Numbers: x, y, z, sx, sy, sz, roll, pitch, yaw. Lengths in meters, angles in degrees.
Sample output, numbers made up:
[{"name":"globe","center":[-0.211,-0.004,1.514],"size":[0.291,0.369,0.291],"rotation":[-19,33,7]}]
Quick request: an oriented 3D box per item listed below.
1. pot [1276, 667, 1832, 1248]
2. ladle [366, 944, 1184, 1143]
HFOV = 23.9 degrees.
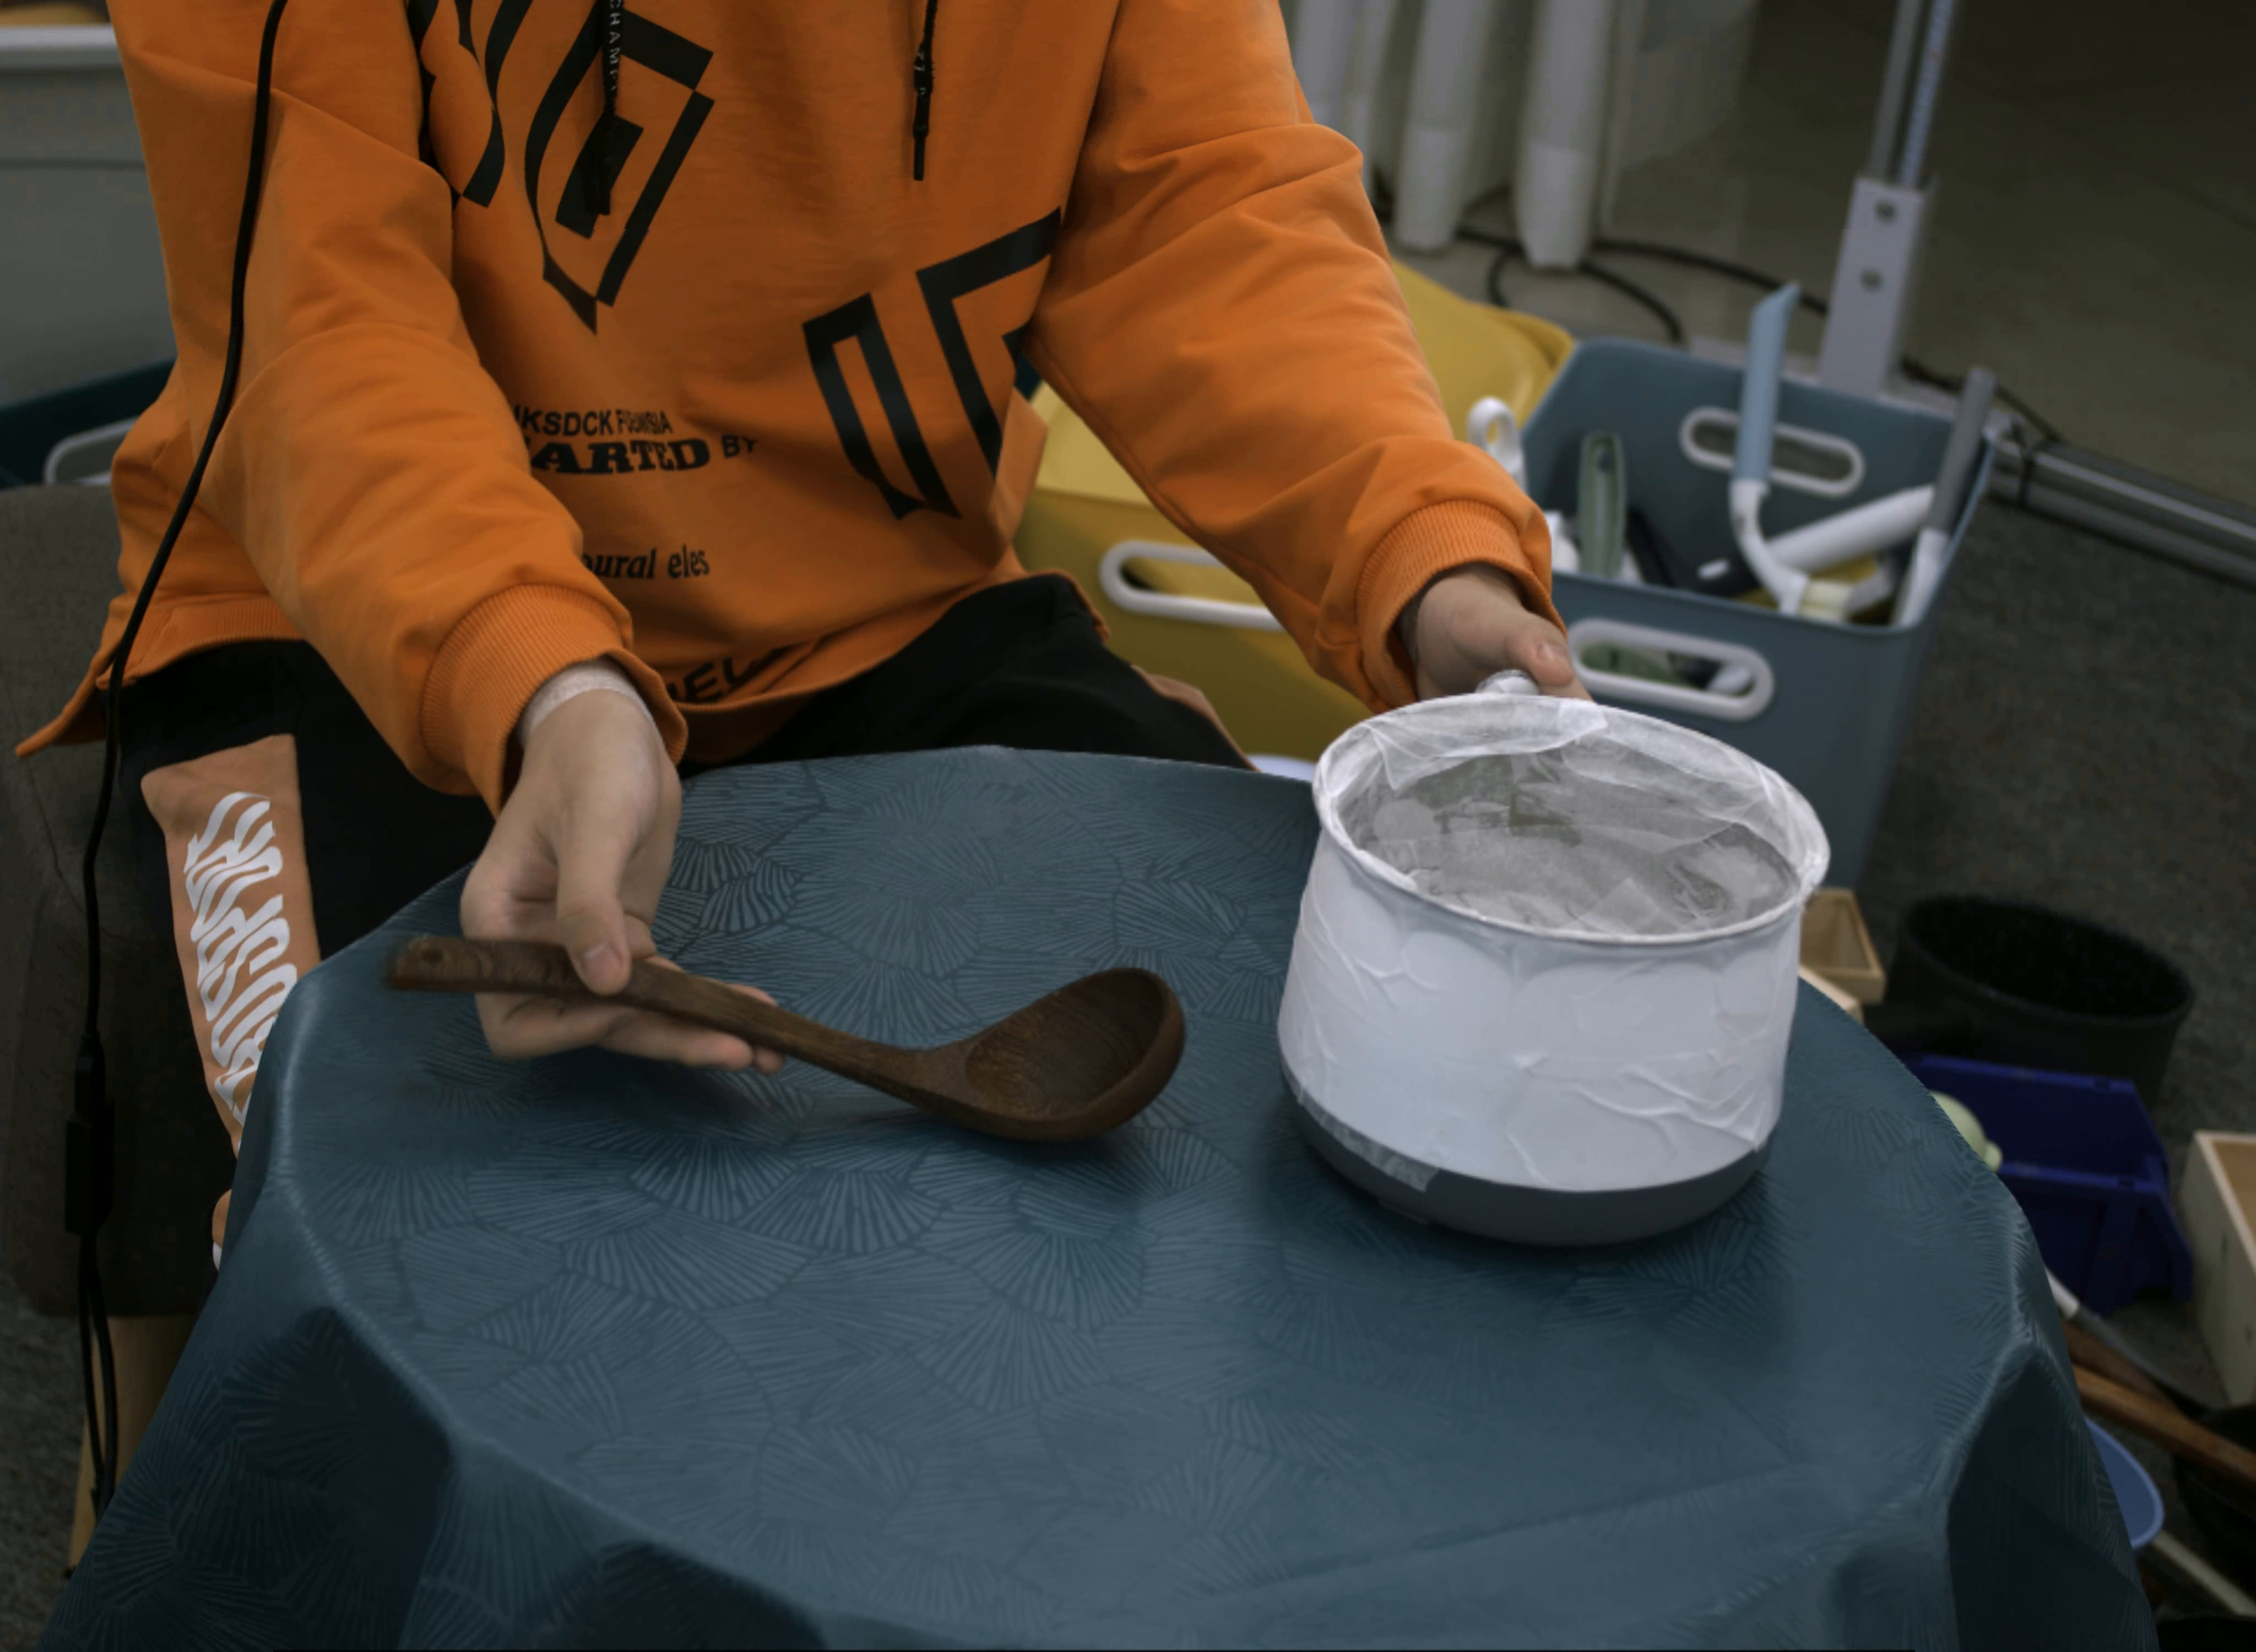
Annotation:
[{"name":"pot","center":[0.138,0.038,1.850],"size":[0.178,0.136,0.235],"rotation":[2,28,-11]},{"name":"ladle","center":[-0.116,0.054,1.799],"size":[0.272,0.071,0.076],"rotation":[14,26,-15]}]
